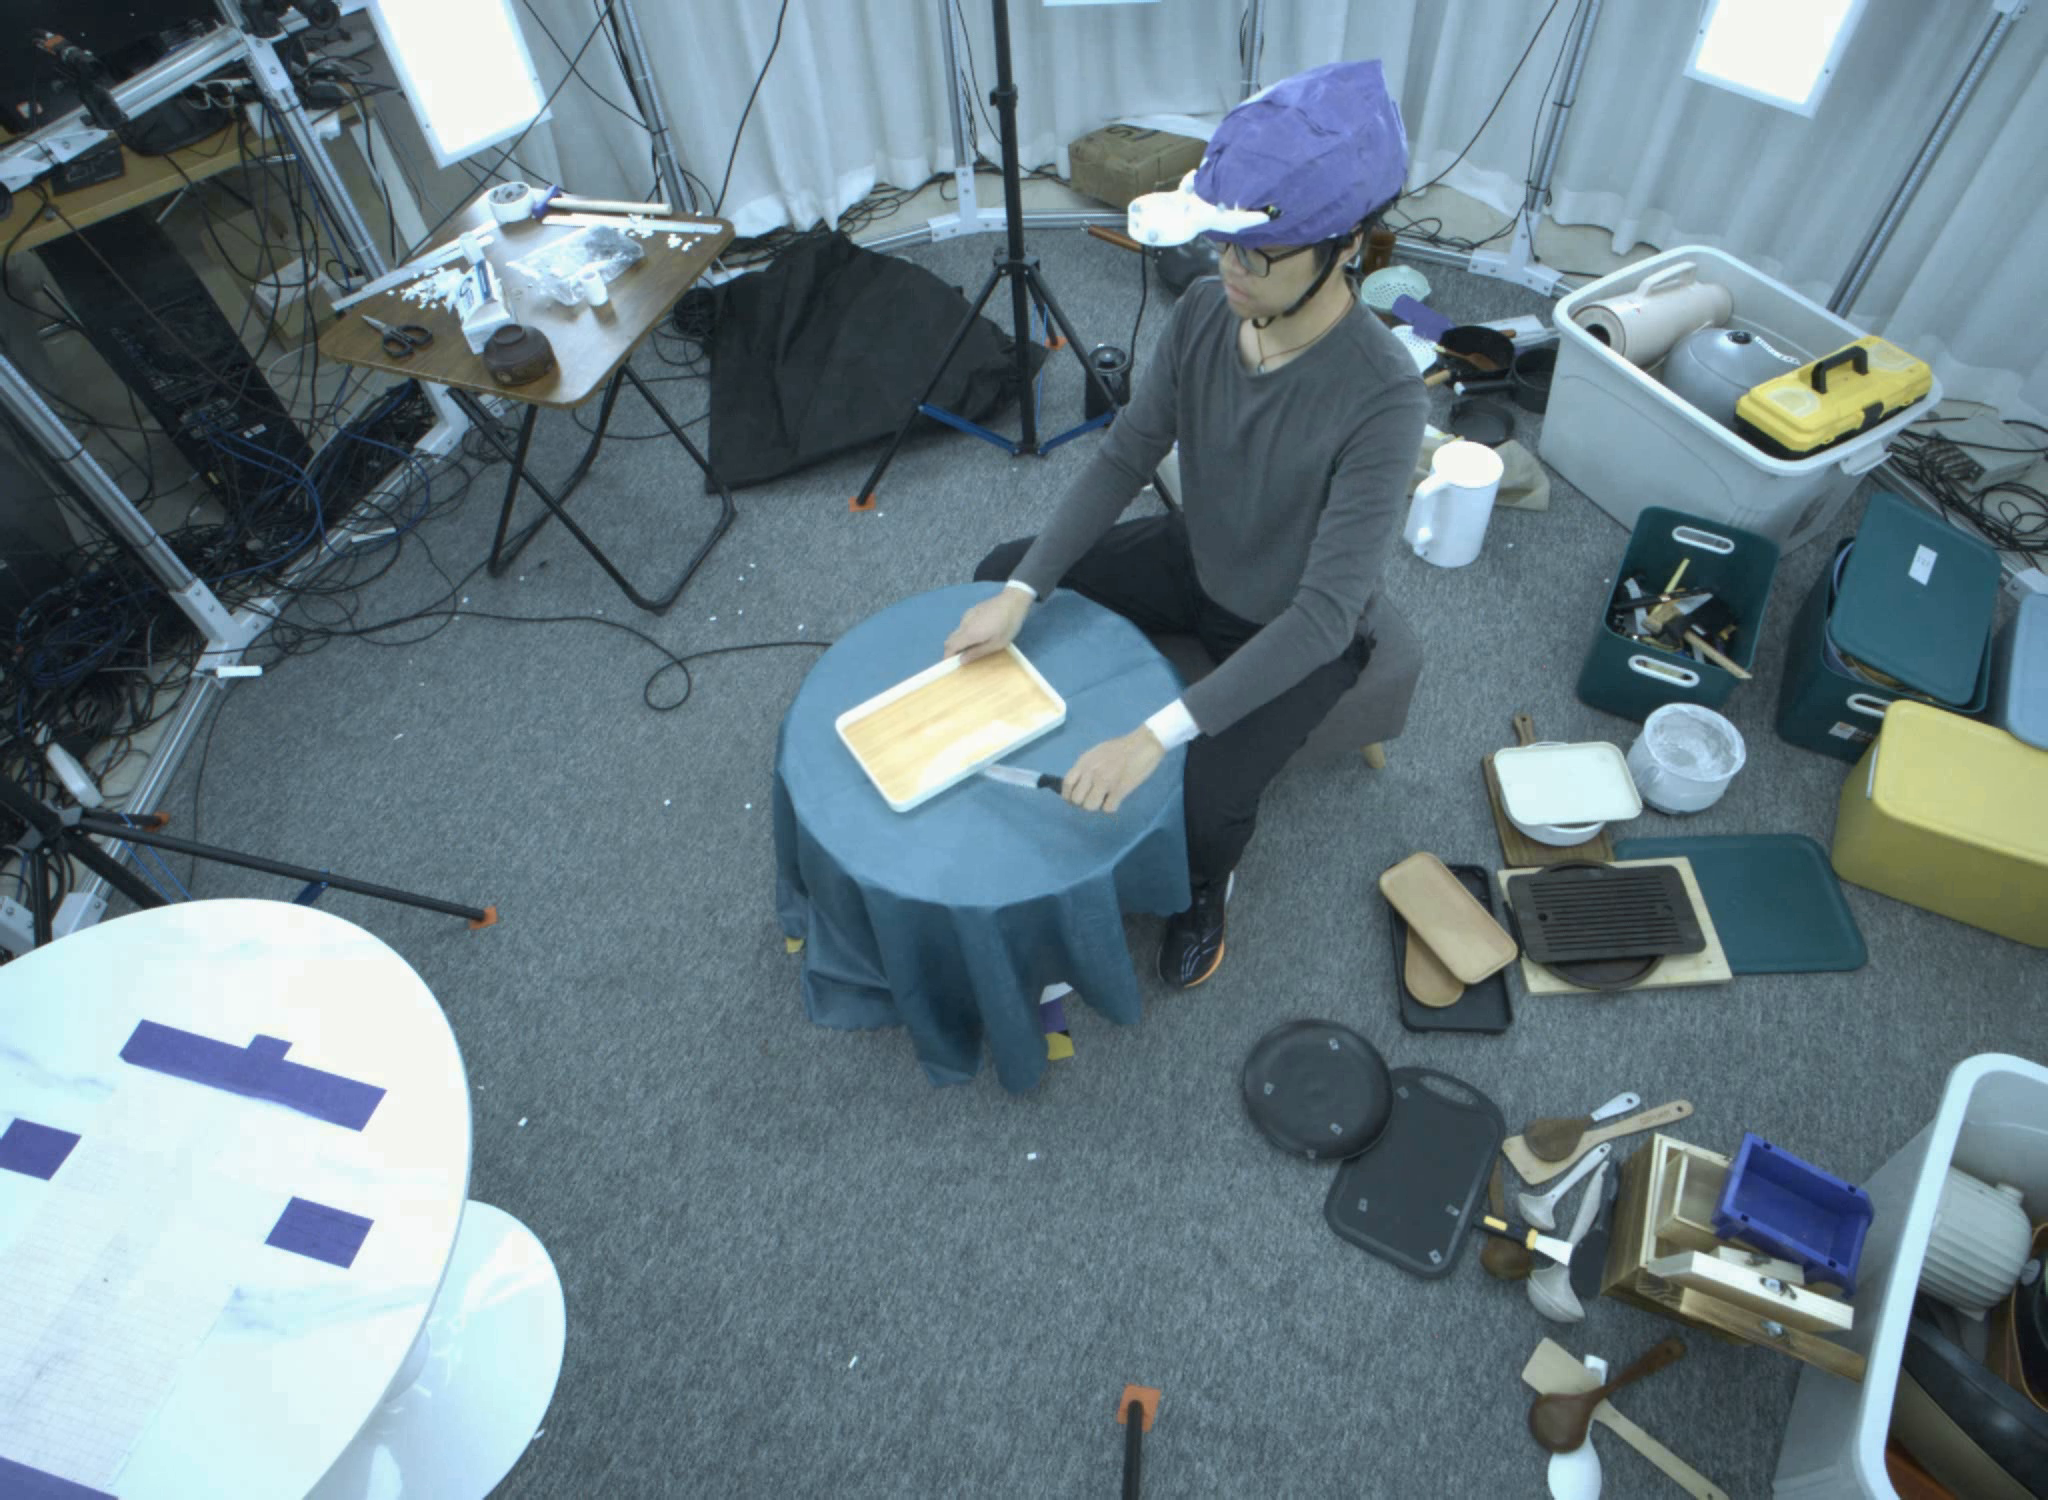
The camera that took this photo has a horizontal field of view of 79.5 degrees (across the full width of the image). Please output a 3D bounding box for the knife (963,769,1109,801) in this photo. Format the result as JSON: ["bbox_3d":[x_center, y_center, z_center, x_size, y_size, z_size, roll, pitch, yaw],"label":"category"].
[{"bbox_3d":[0.013,0.043,1.686,0.233,0.016,0.024,8,67,31],"label":"knife"}]

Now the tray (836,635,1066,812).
[{"bbox_3d":[-0.107,-0.044,1.813,0.303,0.027,0.188,-29,60,-18],"label":"tray"}]
